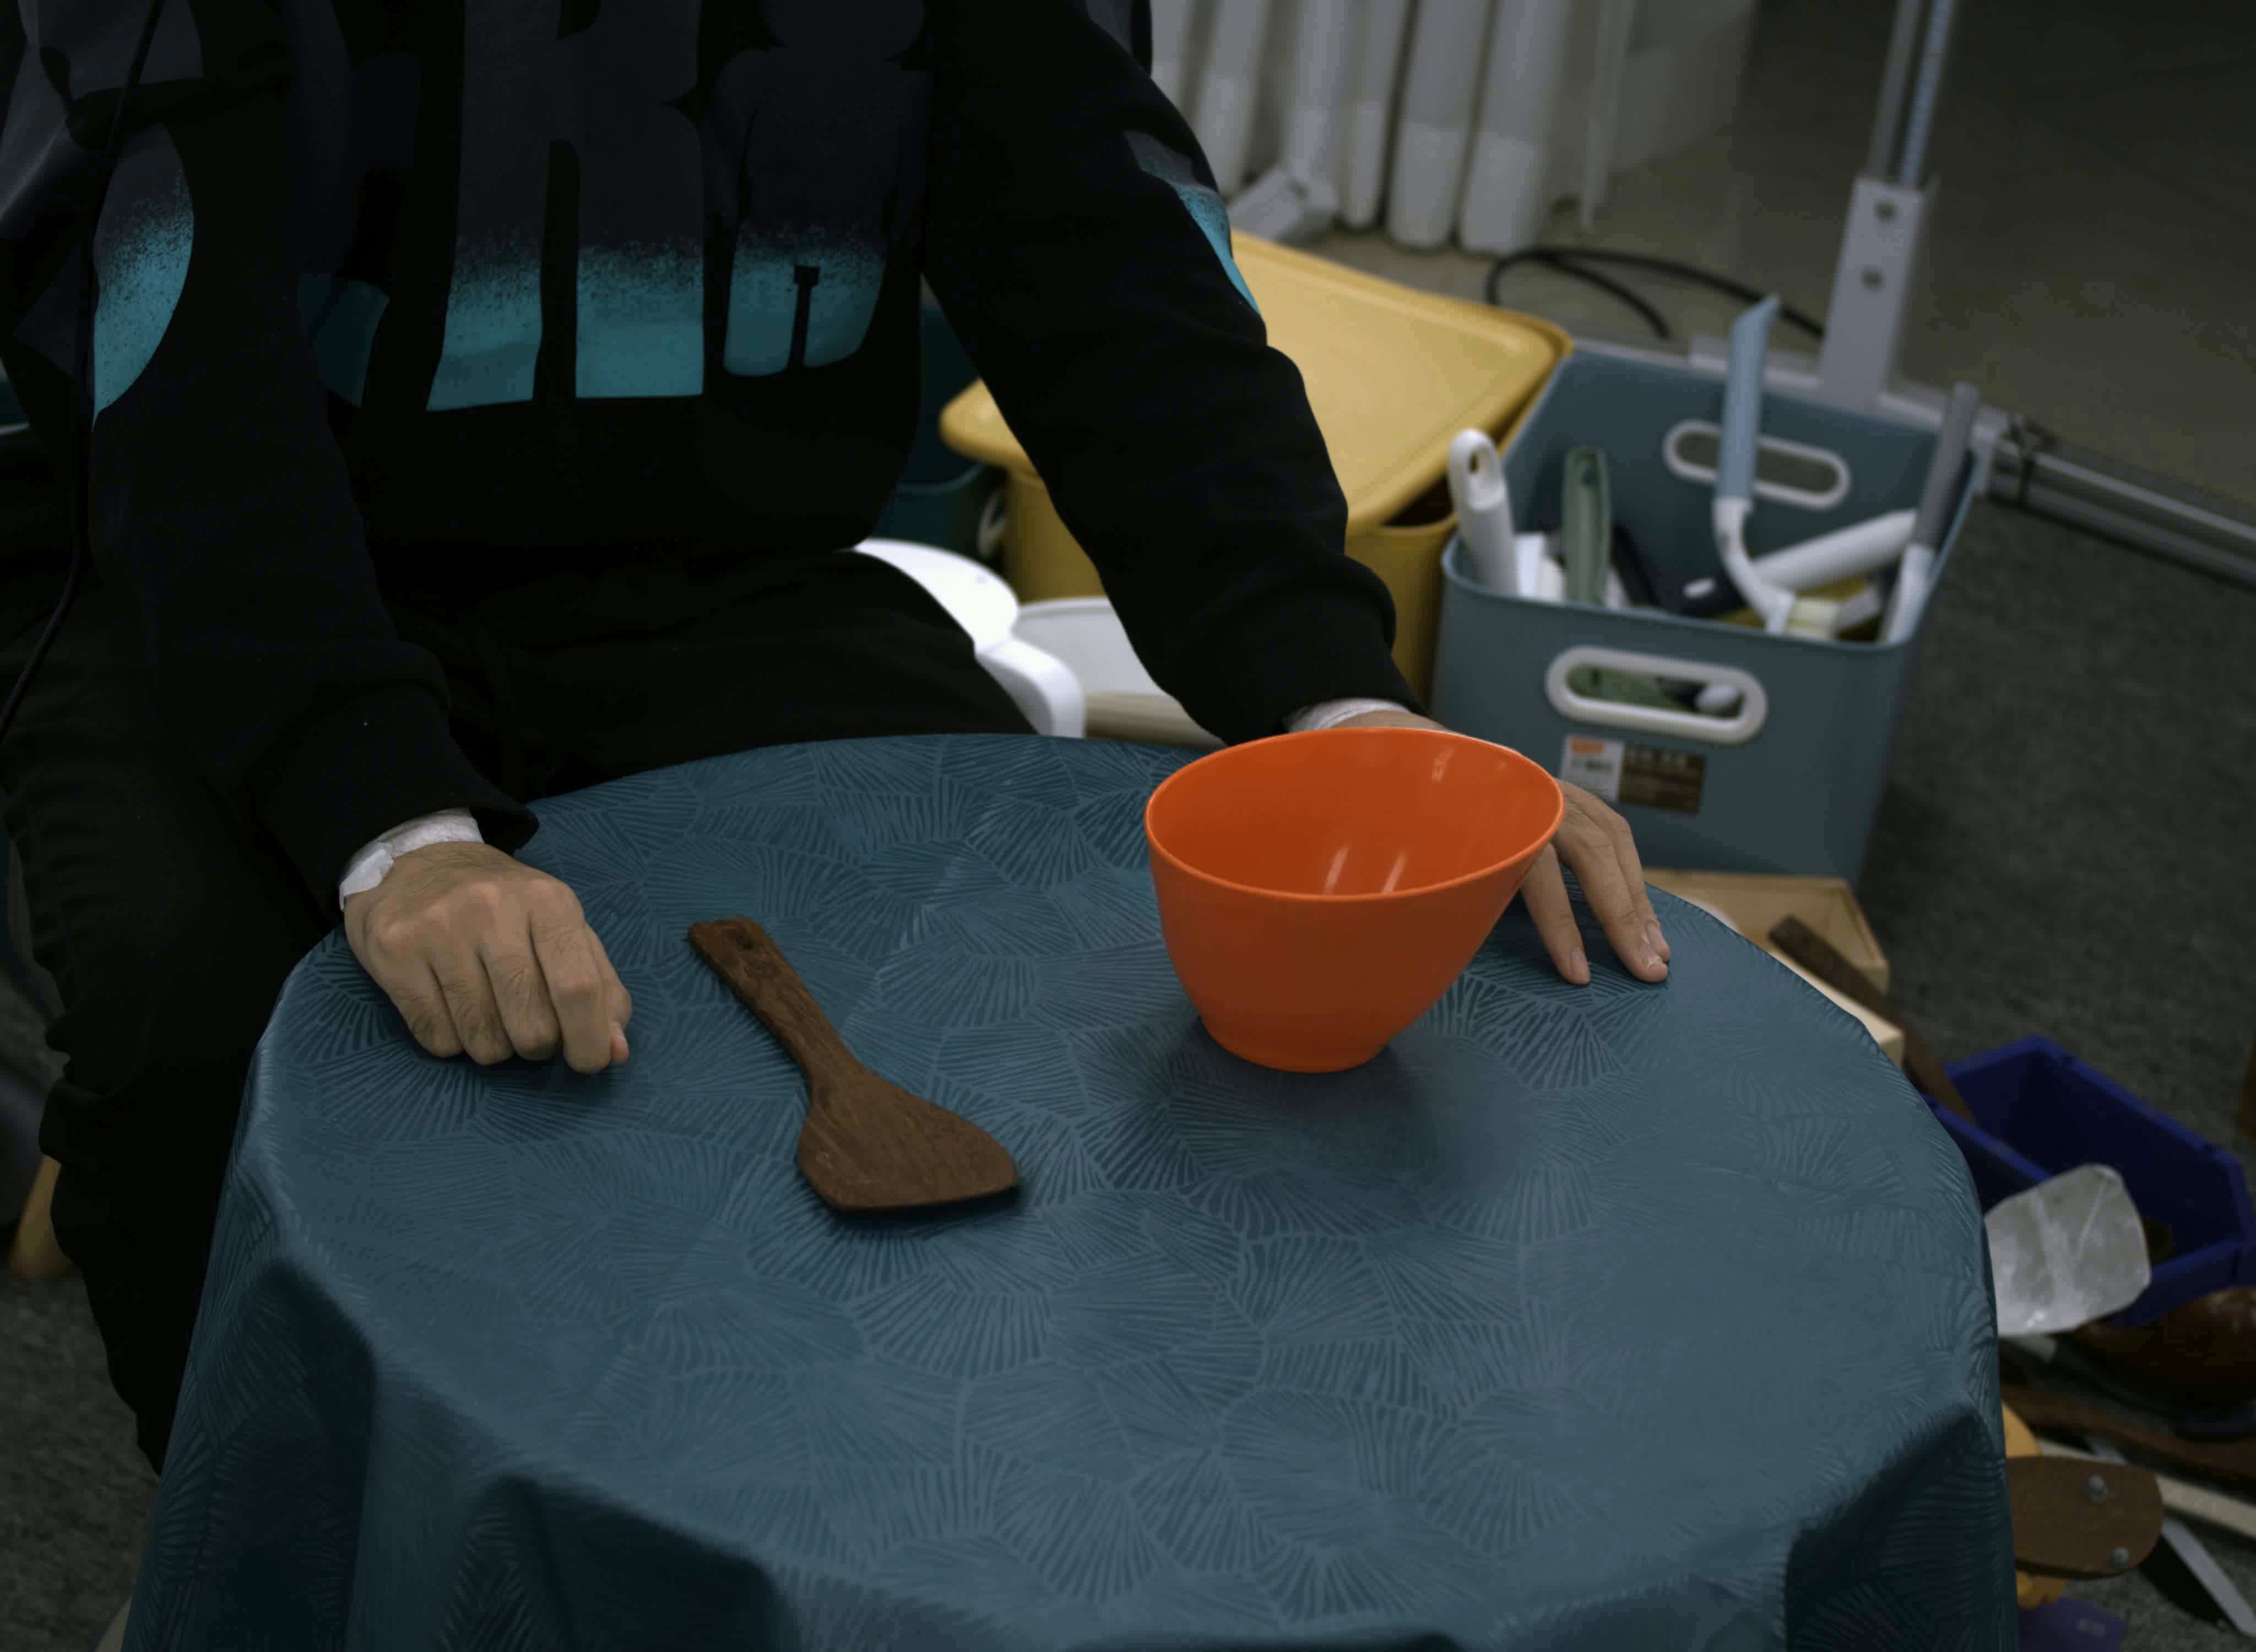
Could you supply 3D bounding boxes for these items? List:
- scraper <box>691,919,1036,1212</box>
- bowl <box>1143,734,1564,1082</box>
[{"bbox_3d":[-0.104,0.082,1.850,0.075,0.011,0.213,-5,28,-25],"label":"scraper"},{"bbox_3d":[0.075,0.033,1.888,0.147,0.104,0.149,4,26,-2],"label":"bowl"}]
